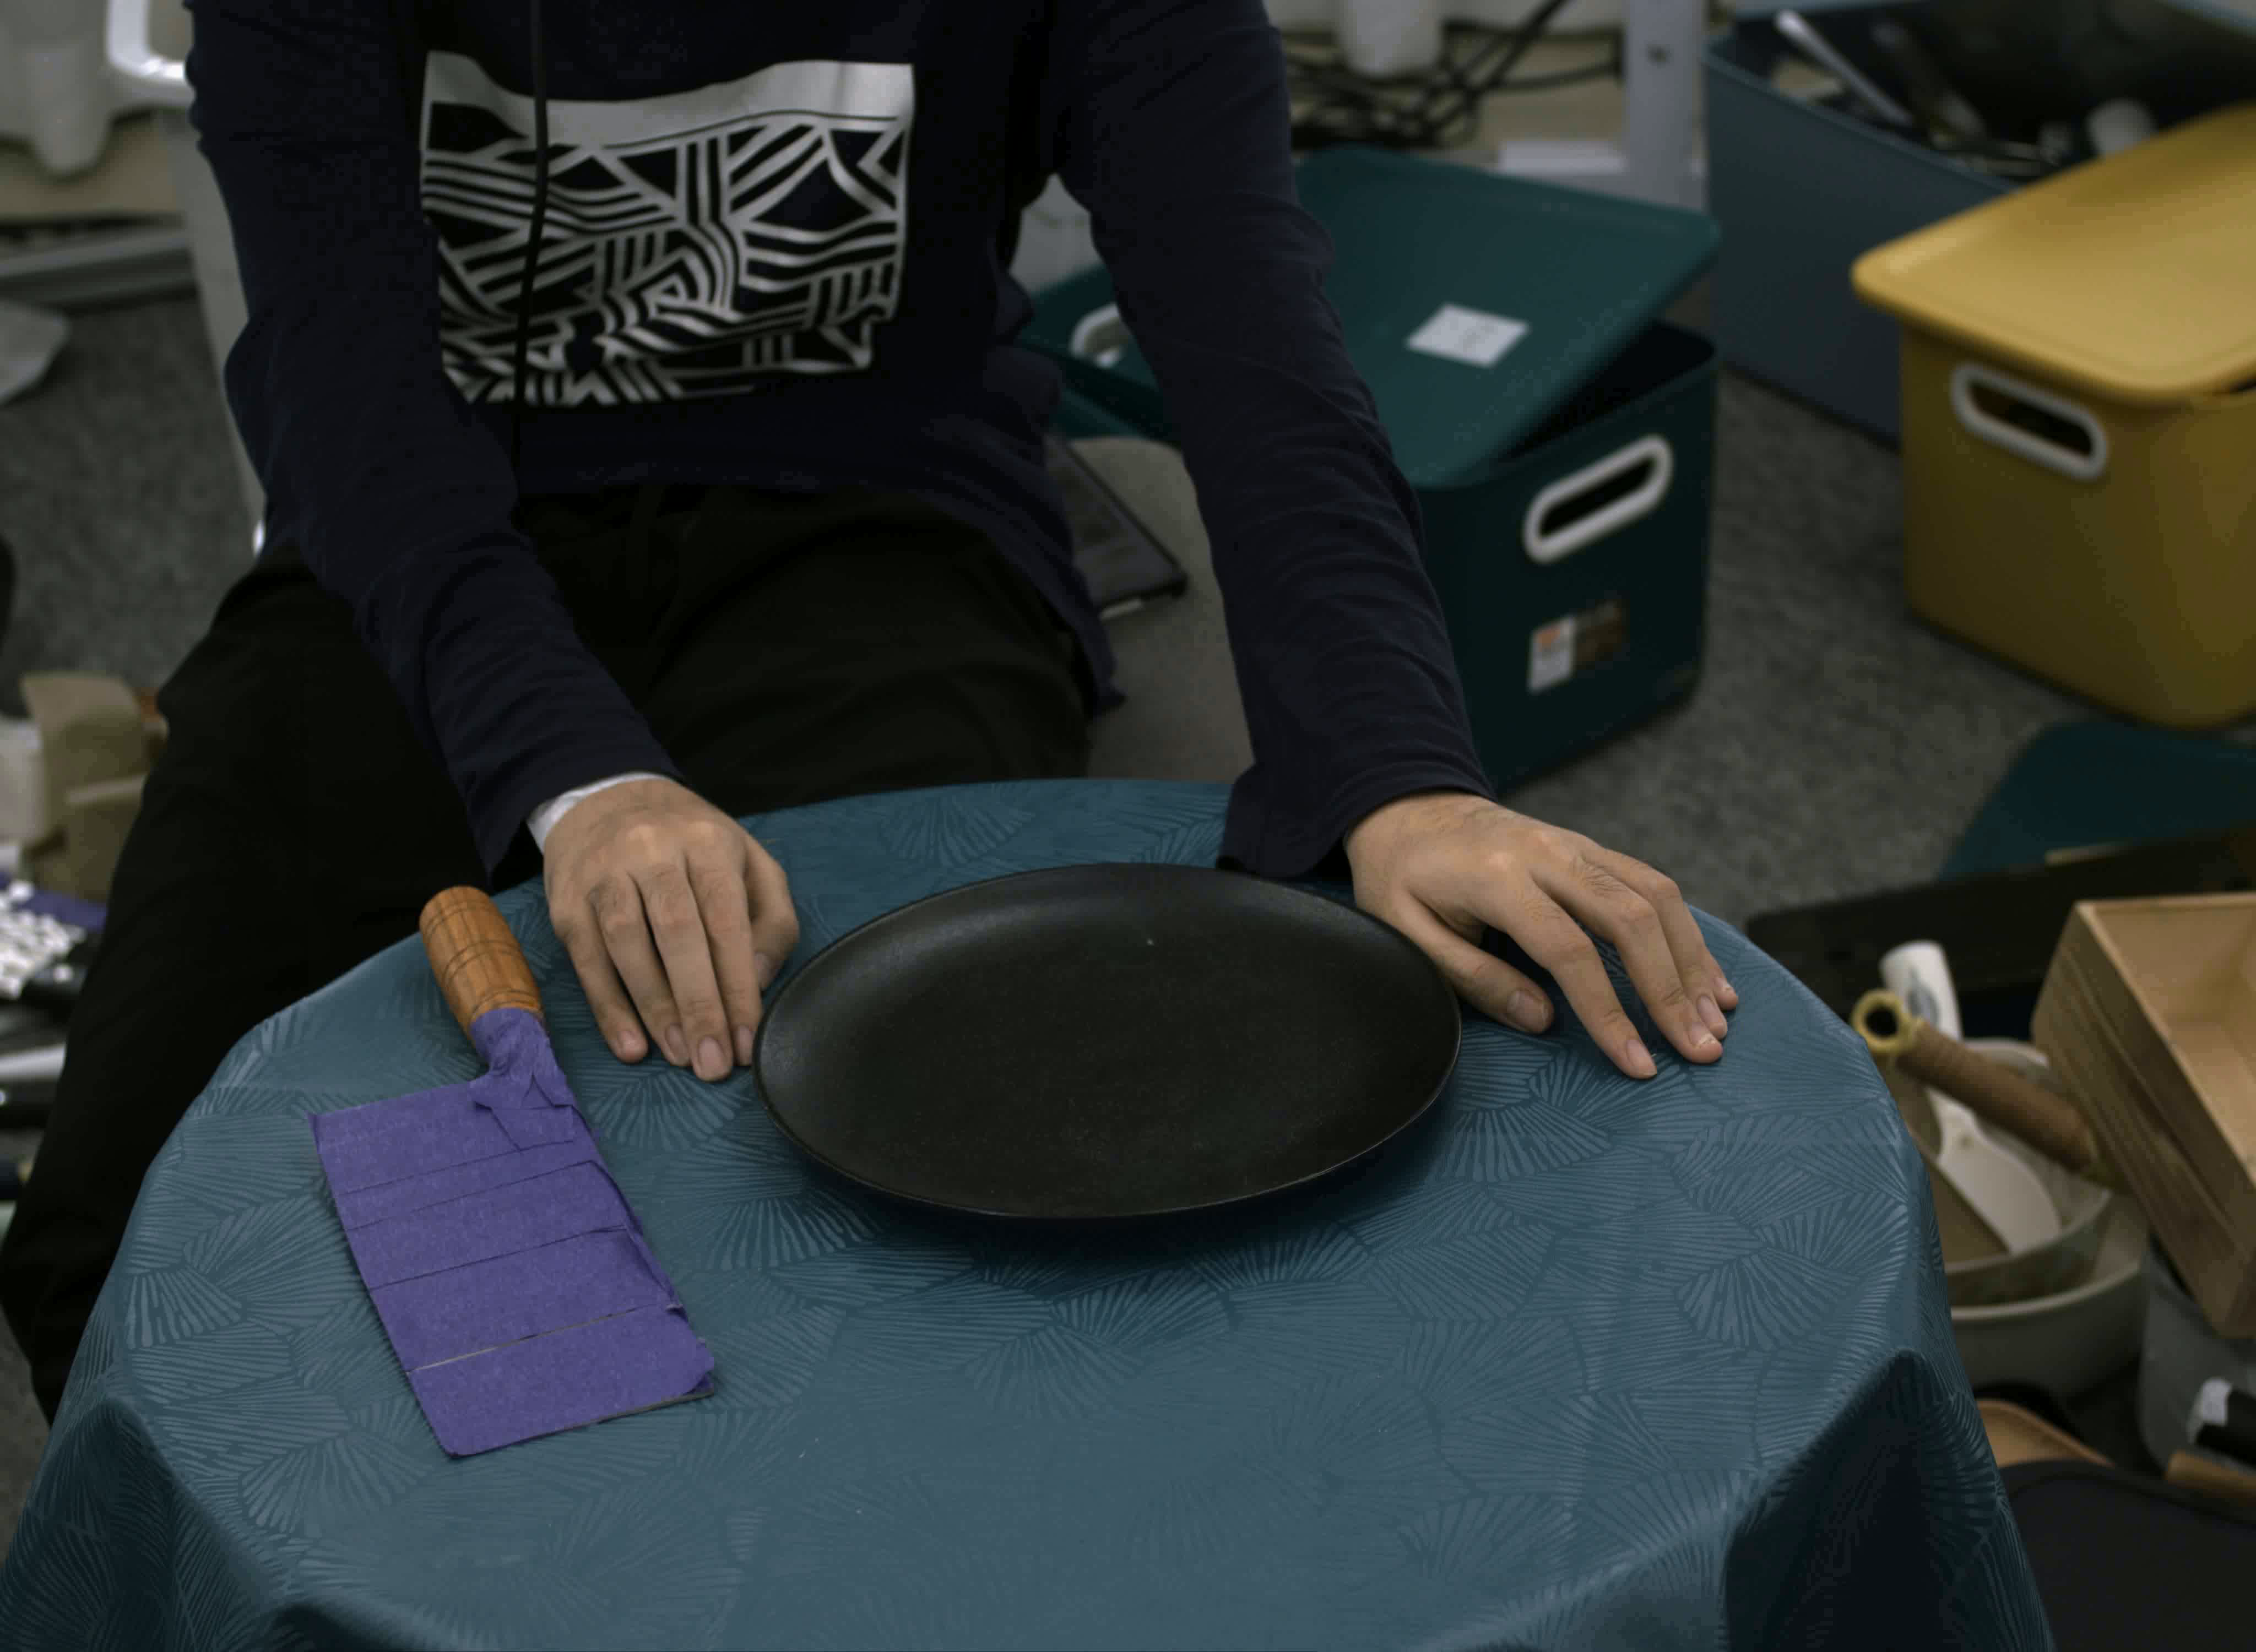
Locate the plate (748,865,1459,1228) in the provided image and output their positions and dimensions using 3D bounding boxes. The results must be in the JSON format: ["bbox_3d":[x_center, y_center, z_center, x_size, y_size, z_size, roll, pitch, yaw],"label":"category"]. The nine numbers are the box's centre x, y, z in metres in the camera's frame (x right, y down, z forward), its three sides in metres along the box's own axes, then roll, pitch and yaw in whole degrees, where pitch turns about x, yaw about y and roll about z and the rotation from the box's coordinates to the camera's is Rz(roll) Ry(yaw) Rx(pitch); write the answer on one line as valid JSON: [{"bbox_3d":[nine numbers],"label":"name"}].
[{"bbox_3d":[-0.008,0.079,1.920,0.243,0.023,0.248,-2,27,1],"label":"plate"}]

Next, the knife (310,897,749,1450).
[{"bbox_3d":[-0.220,0.111,1.873,0.104,0.032,0.318,-11,29,-17],"label":"knife"}]
